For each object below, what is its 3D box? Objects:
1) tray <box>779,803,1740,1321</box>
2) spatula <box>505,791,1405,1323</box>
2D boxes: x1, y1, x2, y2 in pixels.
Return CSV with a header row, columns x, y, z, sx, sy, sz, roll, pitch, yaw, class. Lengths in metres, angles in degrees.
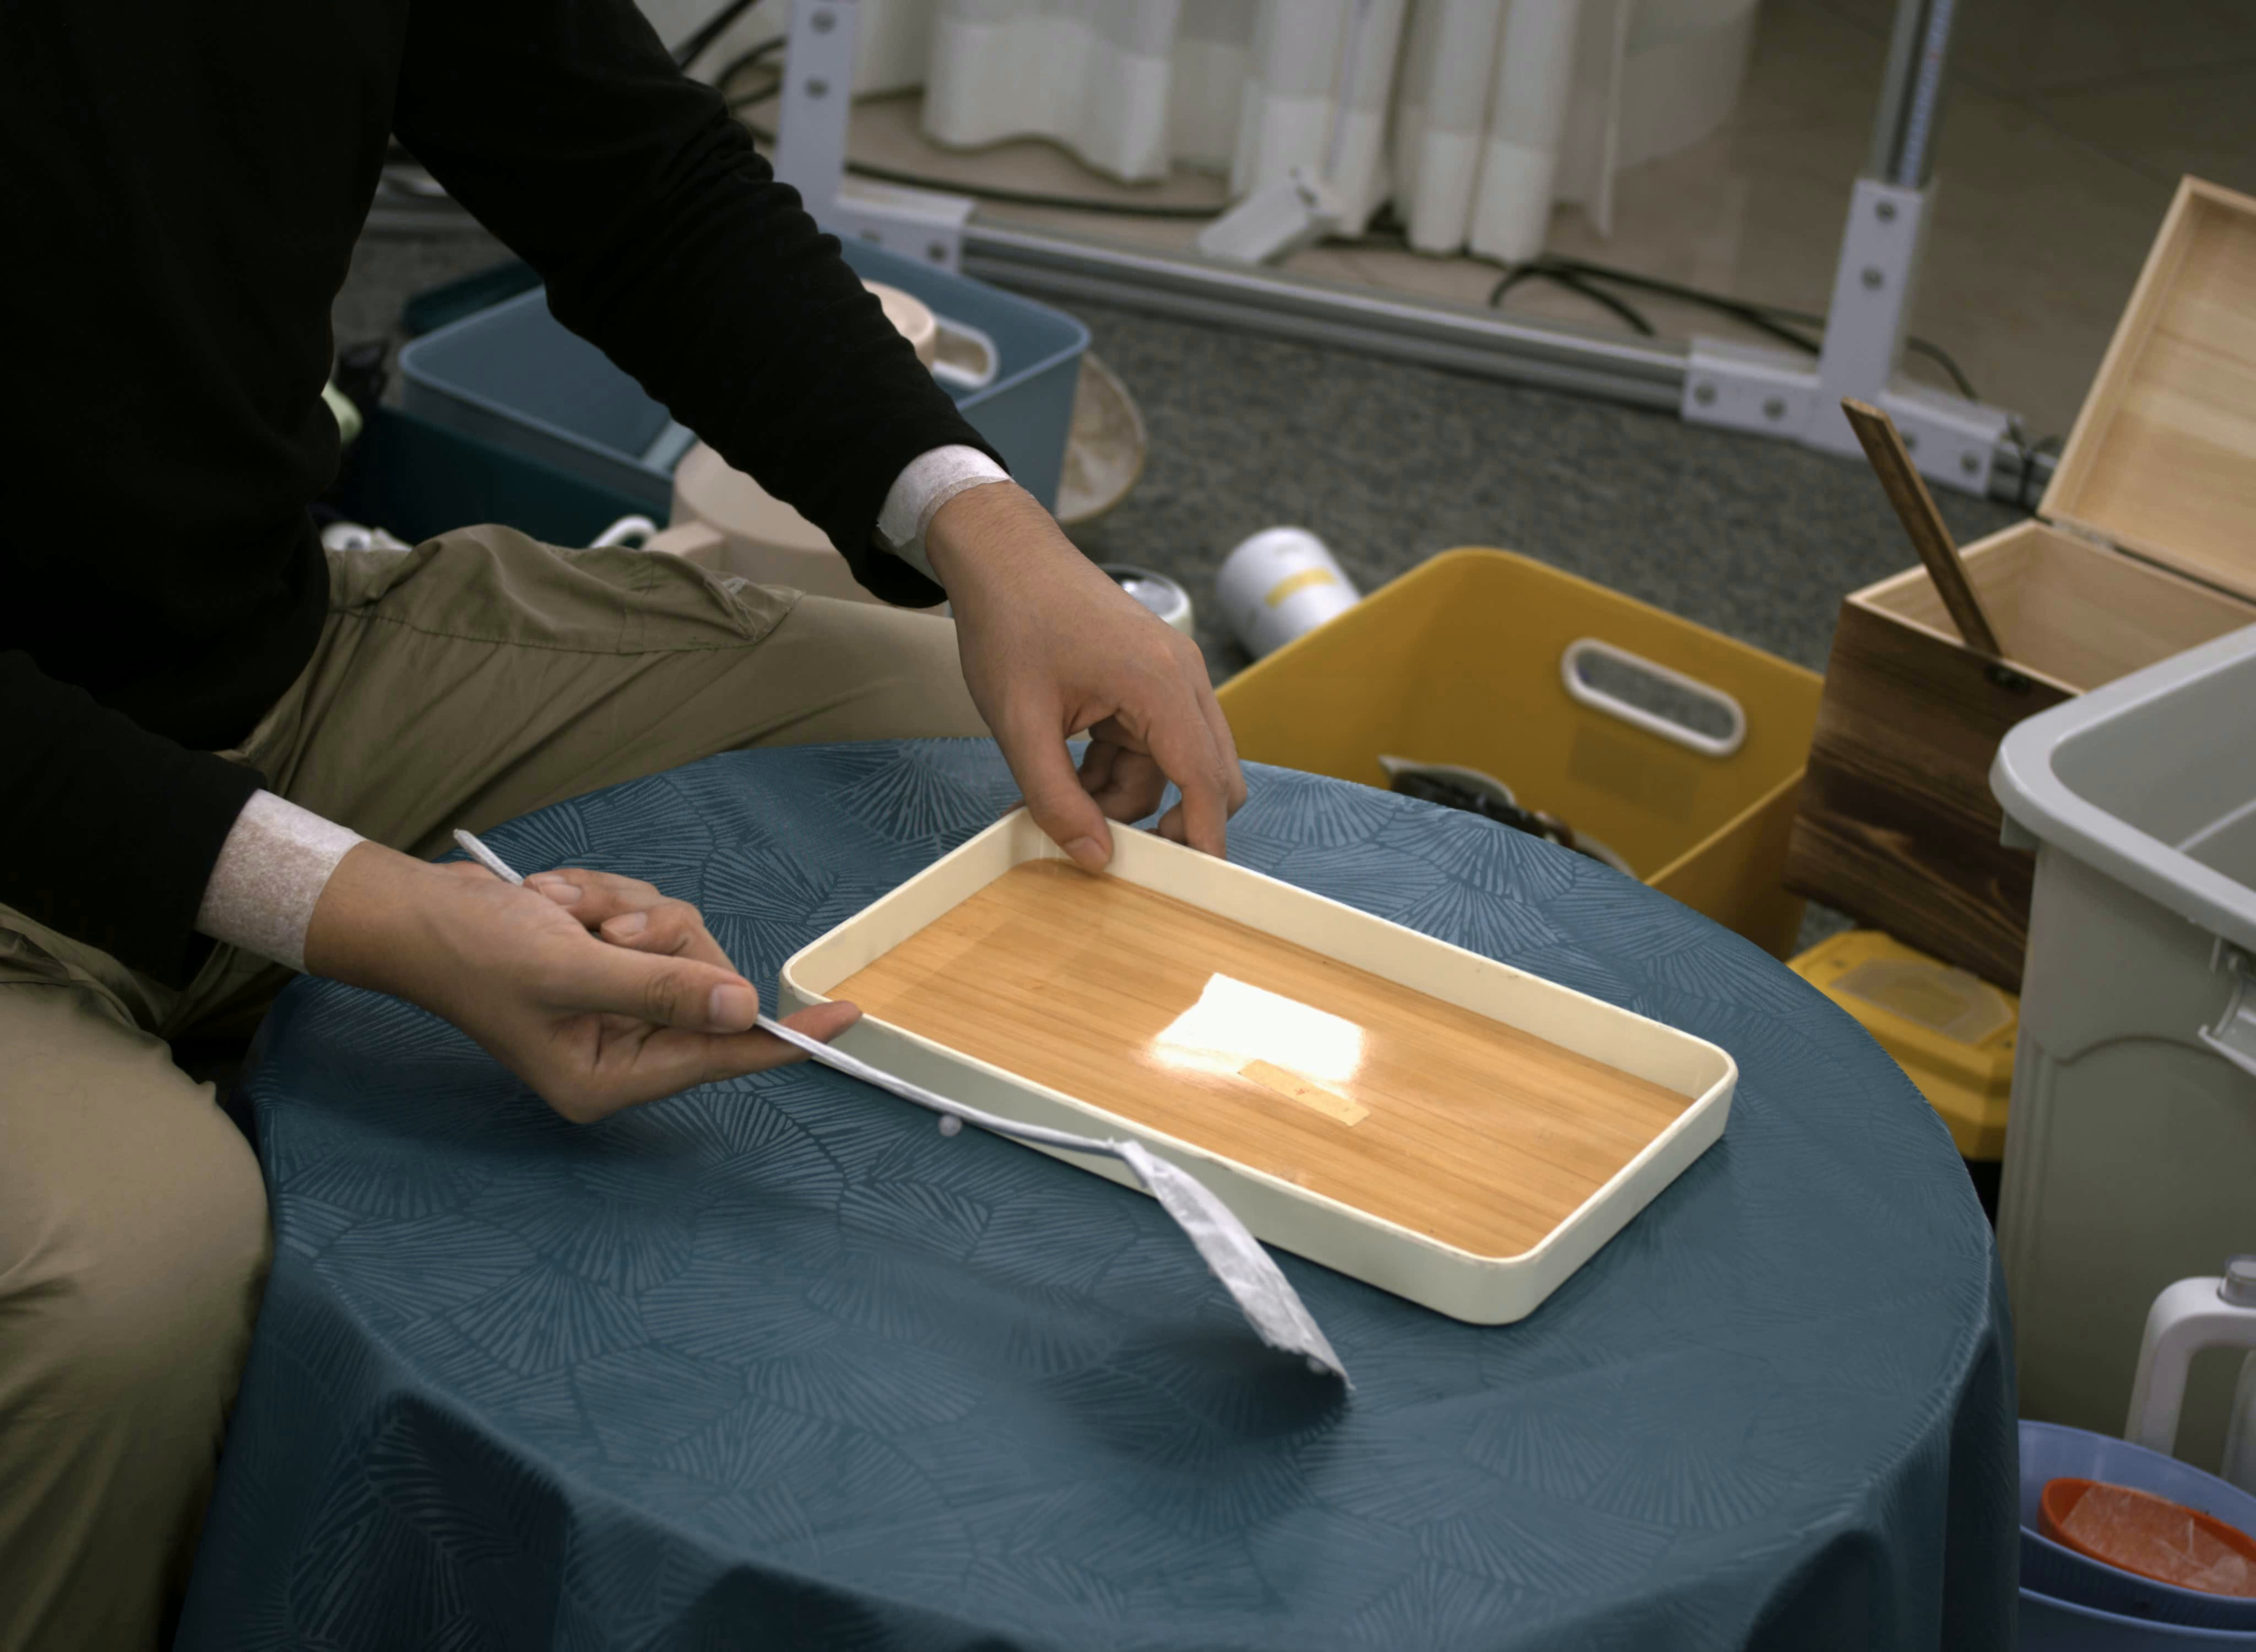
x,y,z,sx,sy,sz,roll,pitch,yaw,class
0.046,0.078,1.871,0.302,0.027,0.191,20,30,26,tray
-0.063,0.066,1.734,0.366,0.098,0.045,19,62,24,spatula
